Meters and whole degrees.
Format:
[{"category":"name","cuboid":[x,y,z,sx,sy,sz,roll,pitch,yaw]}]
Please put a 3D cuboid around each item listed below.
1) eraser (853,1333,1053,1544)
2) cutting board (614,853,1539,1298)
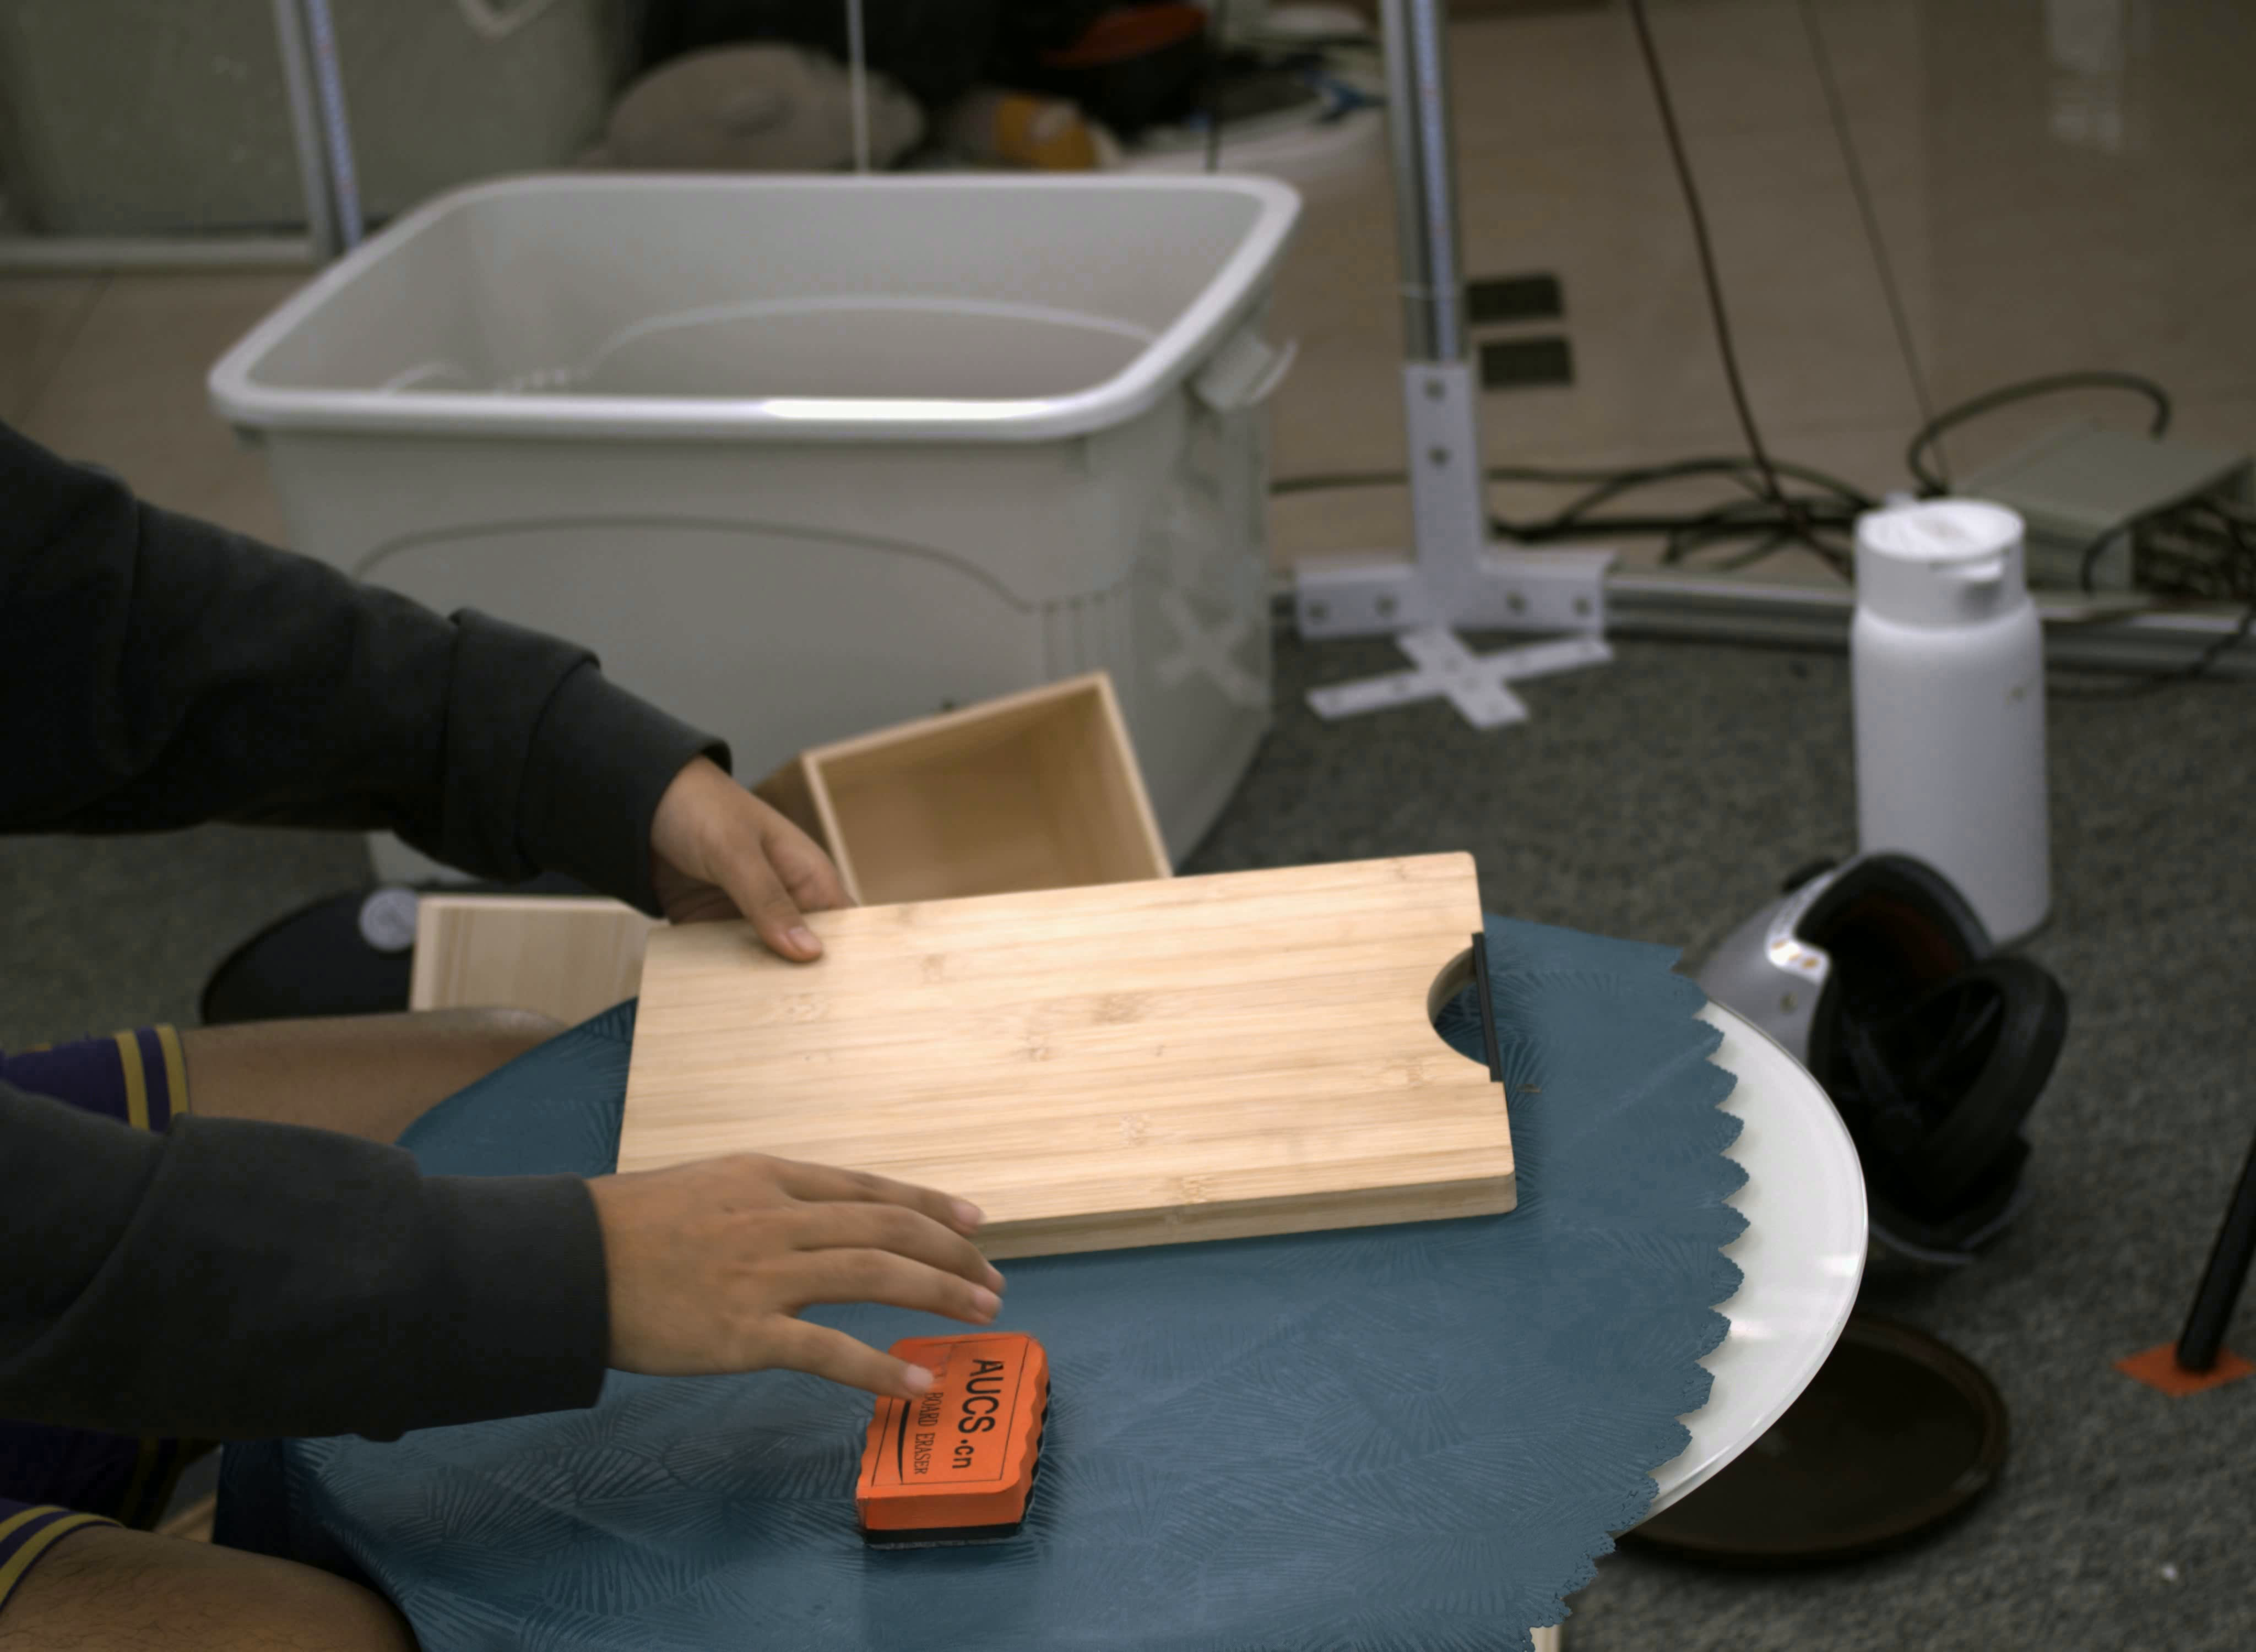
[{"category":"eraser","cuboid":[-0.060,0.212,1.975,0.059,0.023,0.106,-3,24,8]},{"category":"cutting board","cuboid":[-0.021,0.092,2.206,0.348,0.024,0.246,-6,31,2]}]
